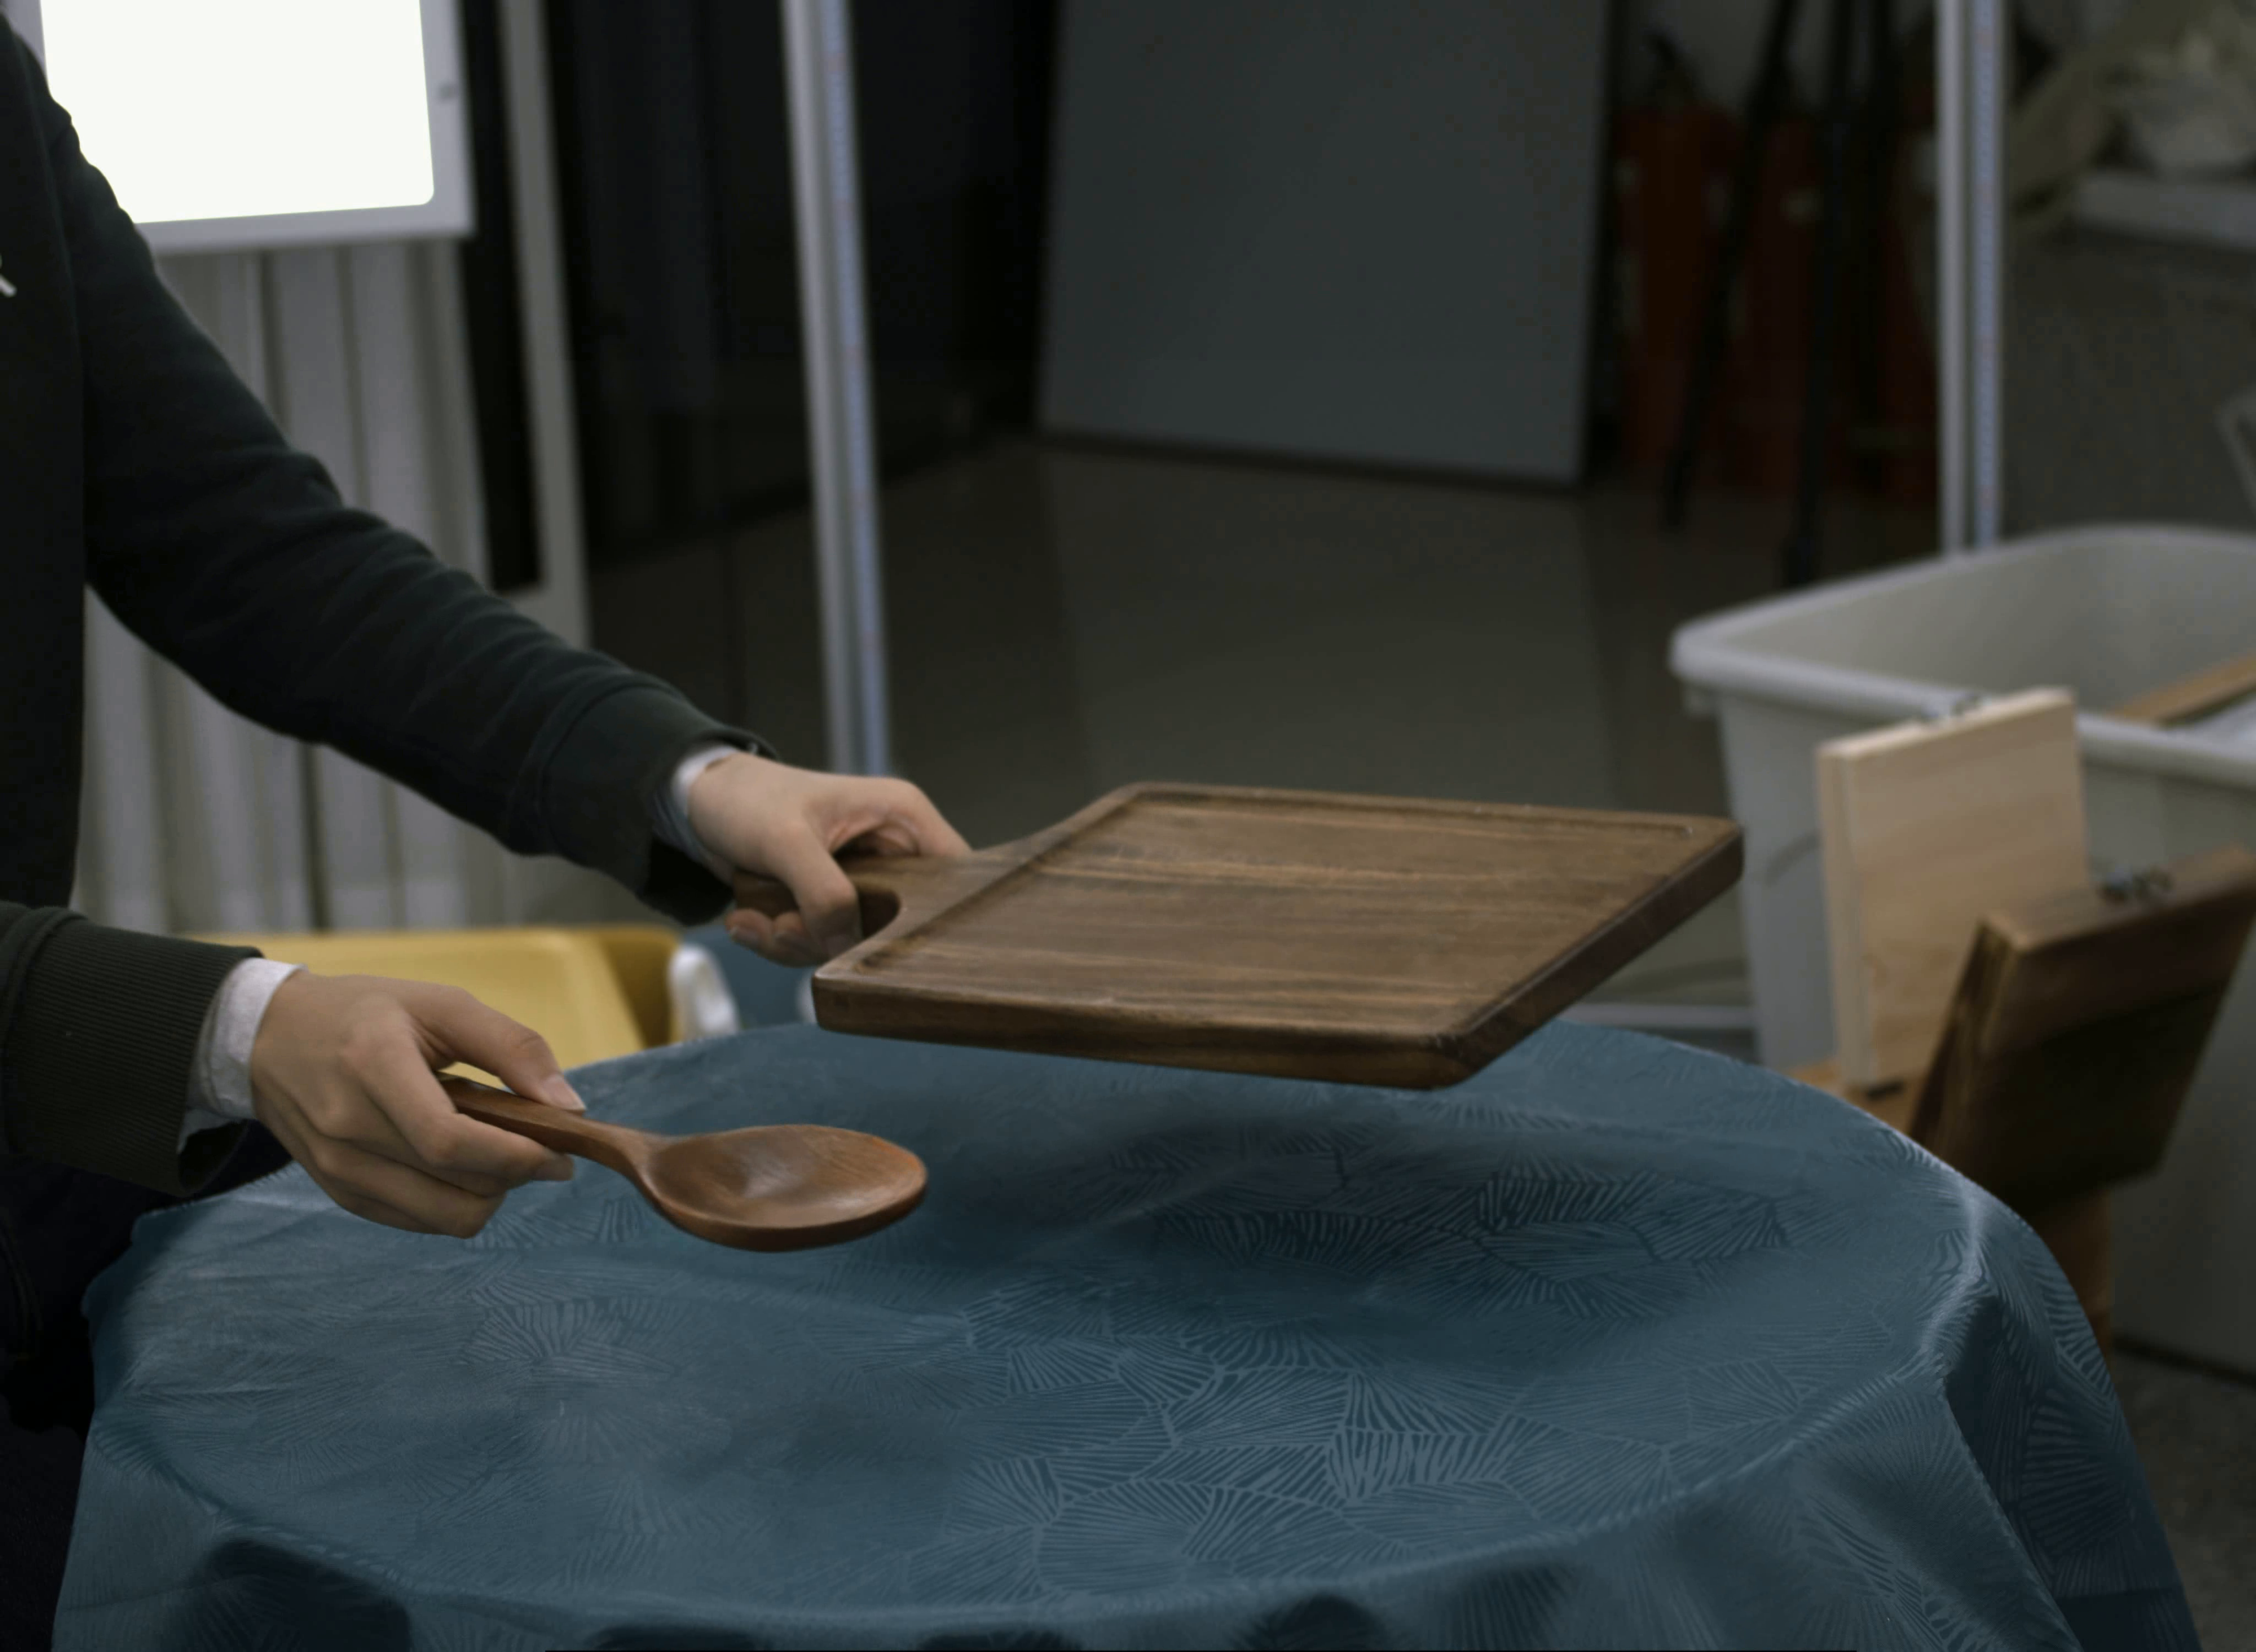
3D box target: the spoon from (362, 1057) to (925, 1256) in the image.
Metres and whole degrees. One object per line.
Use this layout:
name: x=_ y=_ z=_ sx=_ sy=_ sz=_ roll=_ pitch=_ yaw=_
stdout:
spoon: x=-0.149 y=0.097 z=1.611 sx=0.217 sy=0.017 sz=0.074 roll=12 pitch=27 yaw=38

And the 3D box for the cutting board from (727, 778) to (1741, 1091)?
cutting board: x=0.009 y=0.029 z=1.779 sx=0.354 sy=0.023 sz=0.198 roll=2 pitch=23 yaw=37
